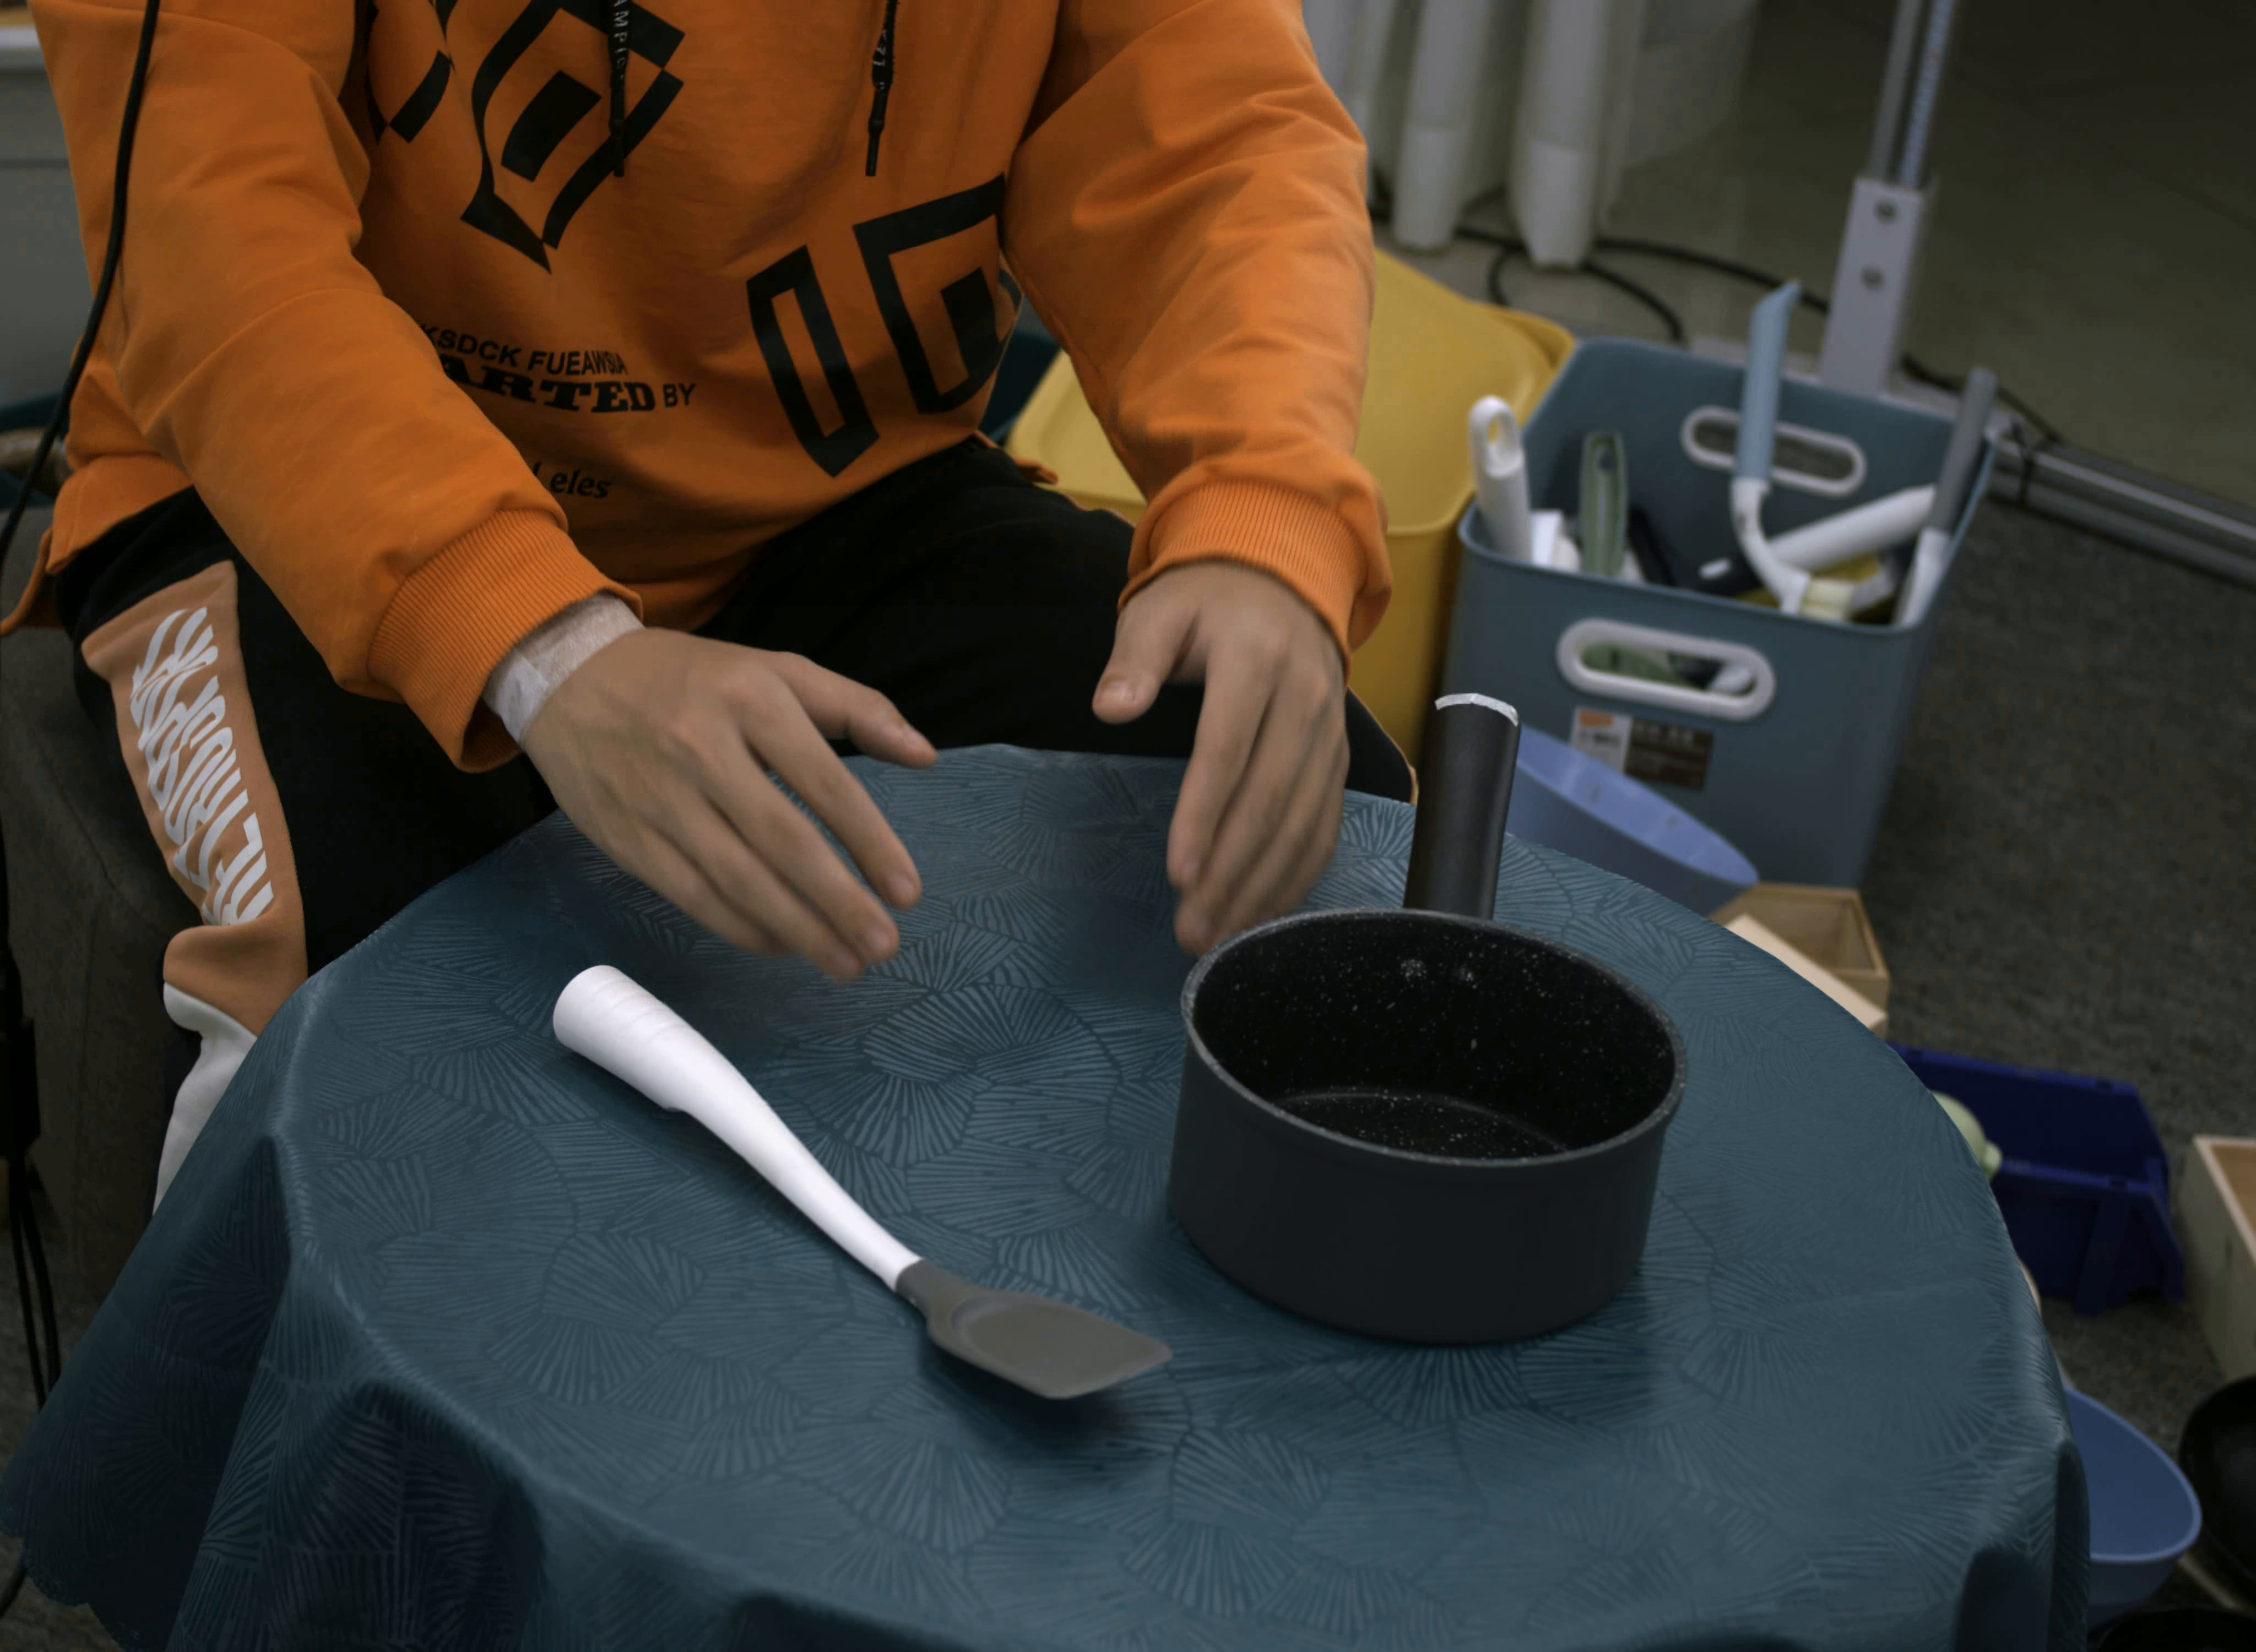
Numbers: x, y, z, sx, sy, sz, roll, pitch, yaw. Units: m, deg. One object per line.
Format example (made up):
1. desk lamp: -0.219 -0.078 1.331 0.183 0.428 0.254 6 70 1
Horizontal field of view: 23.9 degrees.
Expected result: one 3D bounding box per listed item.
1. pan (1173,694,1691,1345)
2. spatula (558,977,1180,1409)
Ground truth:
1. pan: 0.111 0.062 1.854 0.172 0.086 0.330 10 29 5
2. spatula: -0.093 0.124 1.747 0.058 0.032 0.290 -12 32 -39
